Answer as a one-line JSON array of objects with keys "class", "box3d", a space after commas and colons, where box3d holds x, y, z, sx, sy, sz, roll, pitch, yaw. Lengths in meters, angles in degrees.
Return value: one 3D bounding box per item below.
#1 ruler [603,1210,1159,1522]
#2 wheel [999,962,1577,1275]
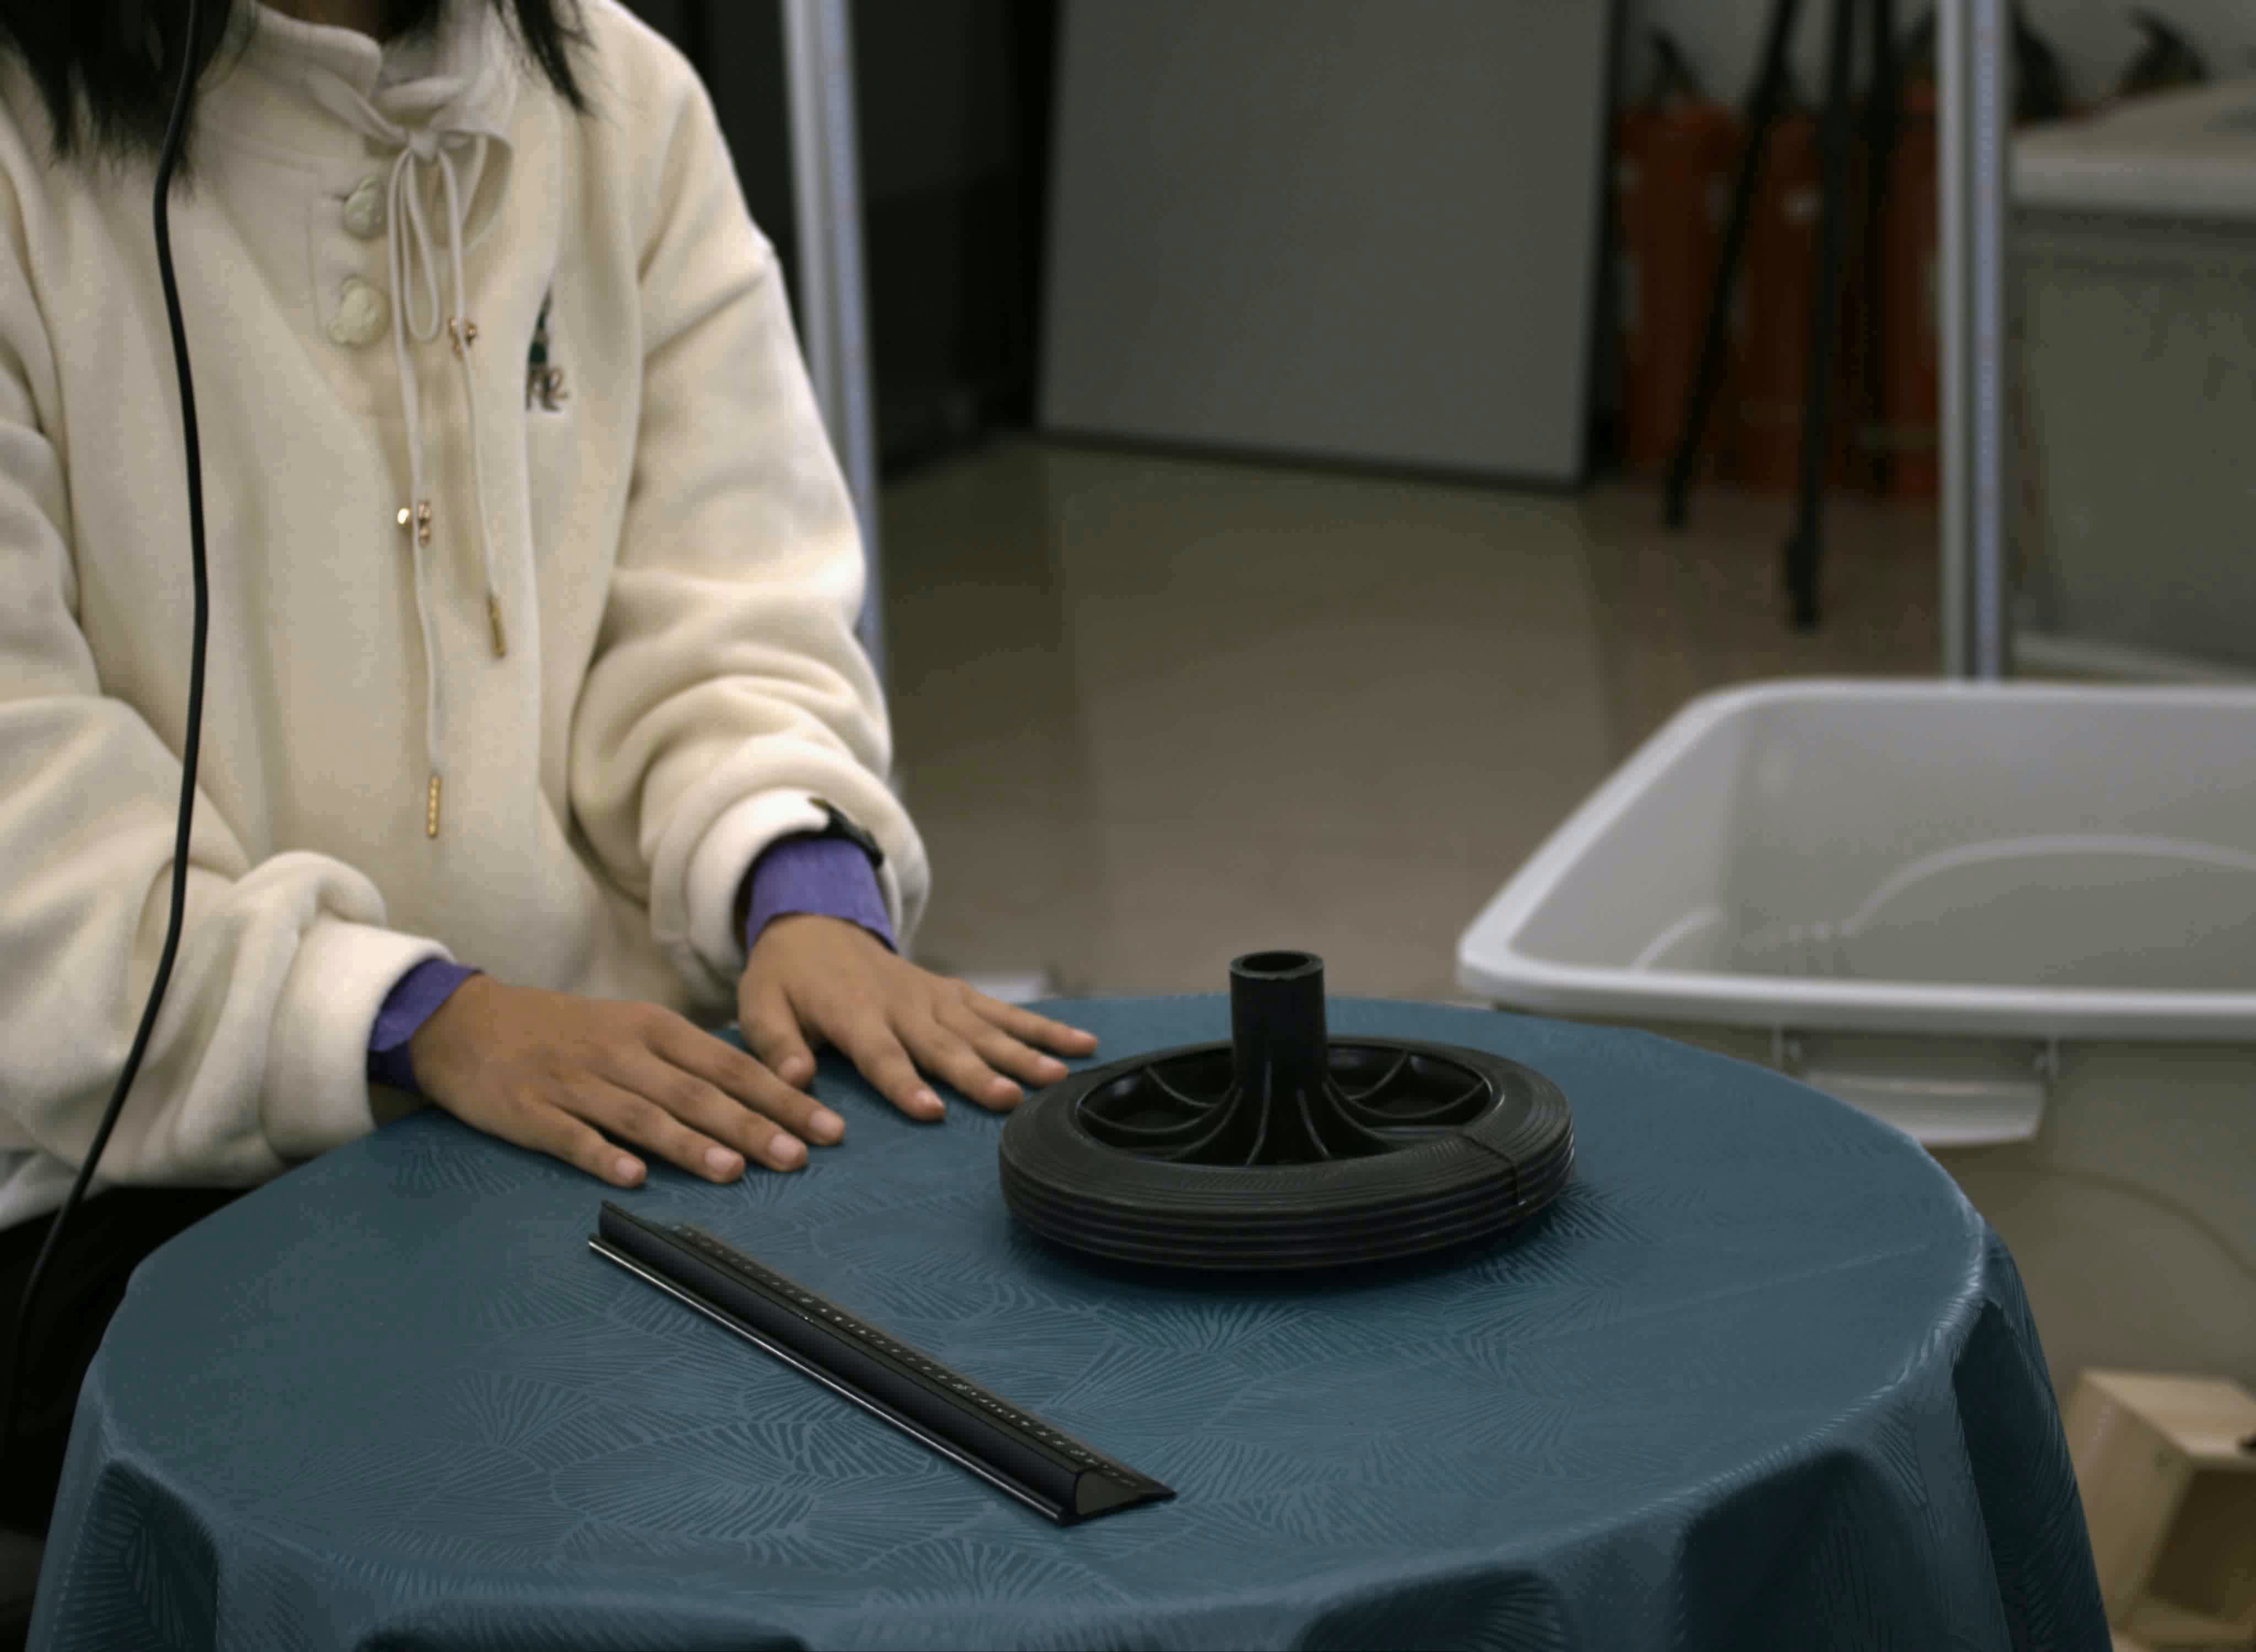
[{"class": "ruler", "box3d": [-0.079, 0.155, 1.621, 0.038, 0.017, 0.316, -7, 13, -28]}, {"class": "wheel", "box3d": [0.051, 0.086, 1.737, 0.186, 0.080, 0.189, -7, 14, -11]}]
